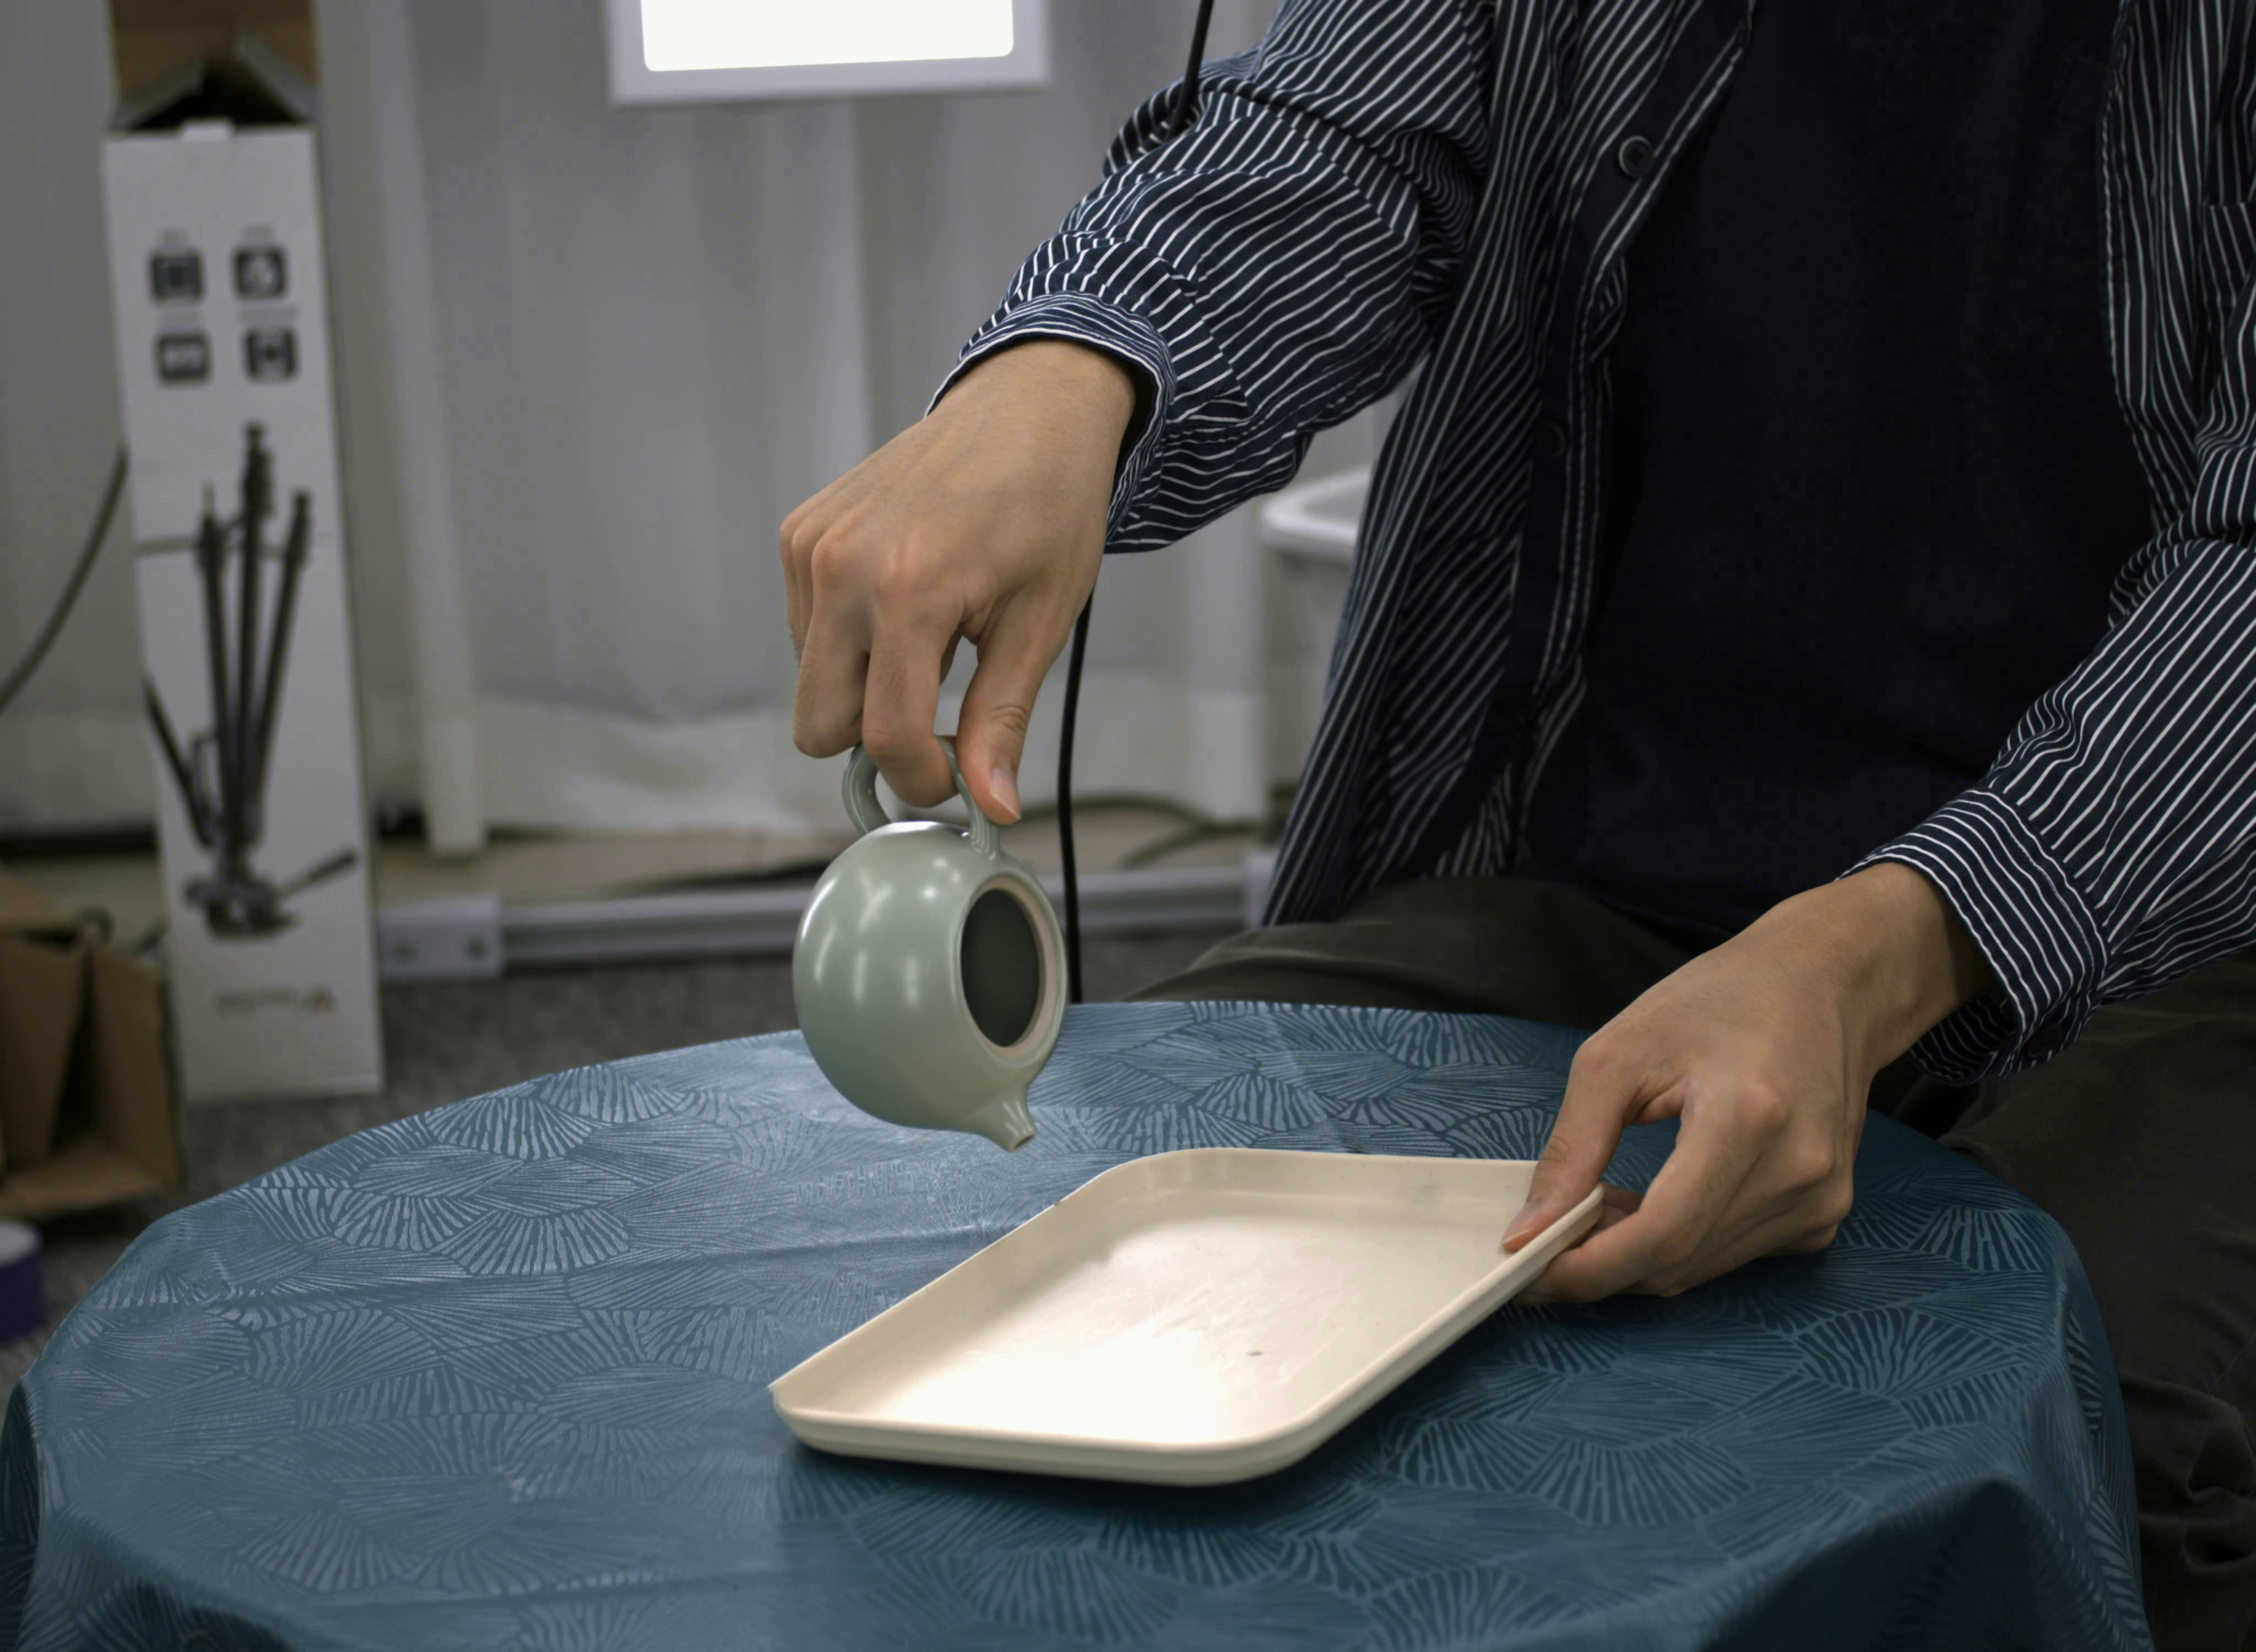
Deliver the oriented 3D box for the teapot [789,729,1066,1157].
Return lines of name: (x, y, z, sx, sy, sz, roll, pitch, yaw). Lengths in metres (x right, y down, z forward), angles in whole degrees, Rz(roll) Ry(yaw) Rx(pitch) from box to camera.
teapot: (-0.061, 0.035, 1.618, 0.061, 0.129, 0.091, -8, -3, 33)

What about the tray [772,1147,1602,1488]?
tray: (0.021, 0.139, 1.565, 0.171, 0.017, 0.240, 2, 16, 30)
